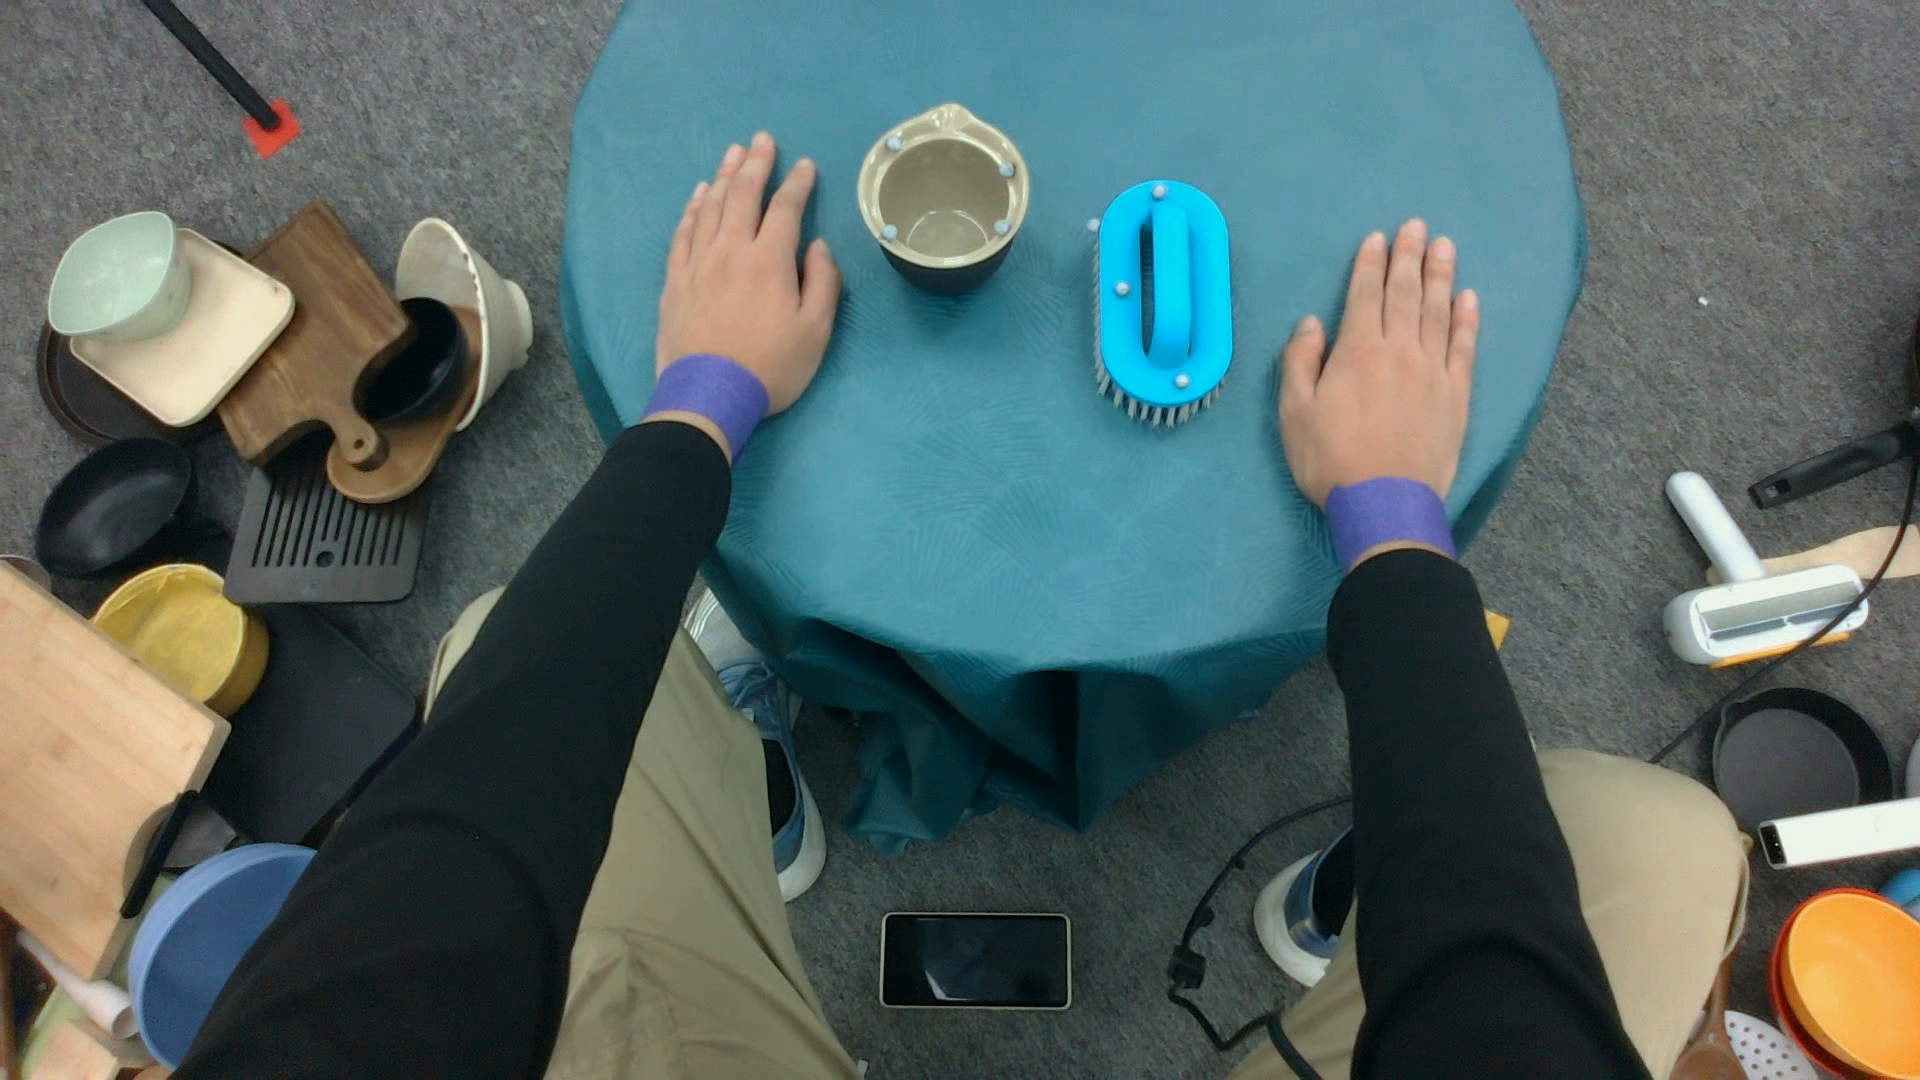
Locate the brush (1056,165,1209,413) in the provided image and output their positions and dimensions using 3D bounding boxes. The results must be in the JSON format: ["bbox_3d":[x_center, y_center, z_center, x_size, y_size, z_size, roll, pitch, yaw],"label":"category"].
[{"bbox_3d":[0.098,-0.146,0.763,0.084,0.063,0.142,2,74,-3],"label":"brush"}]

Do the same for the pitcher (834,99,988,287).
[{"bbox_3d":[-0.025,-0.187,0.772,0.083,0.071,0.096,9,71,4],"label":"pitcher"}]
